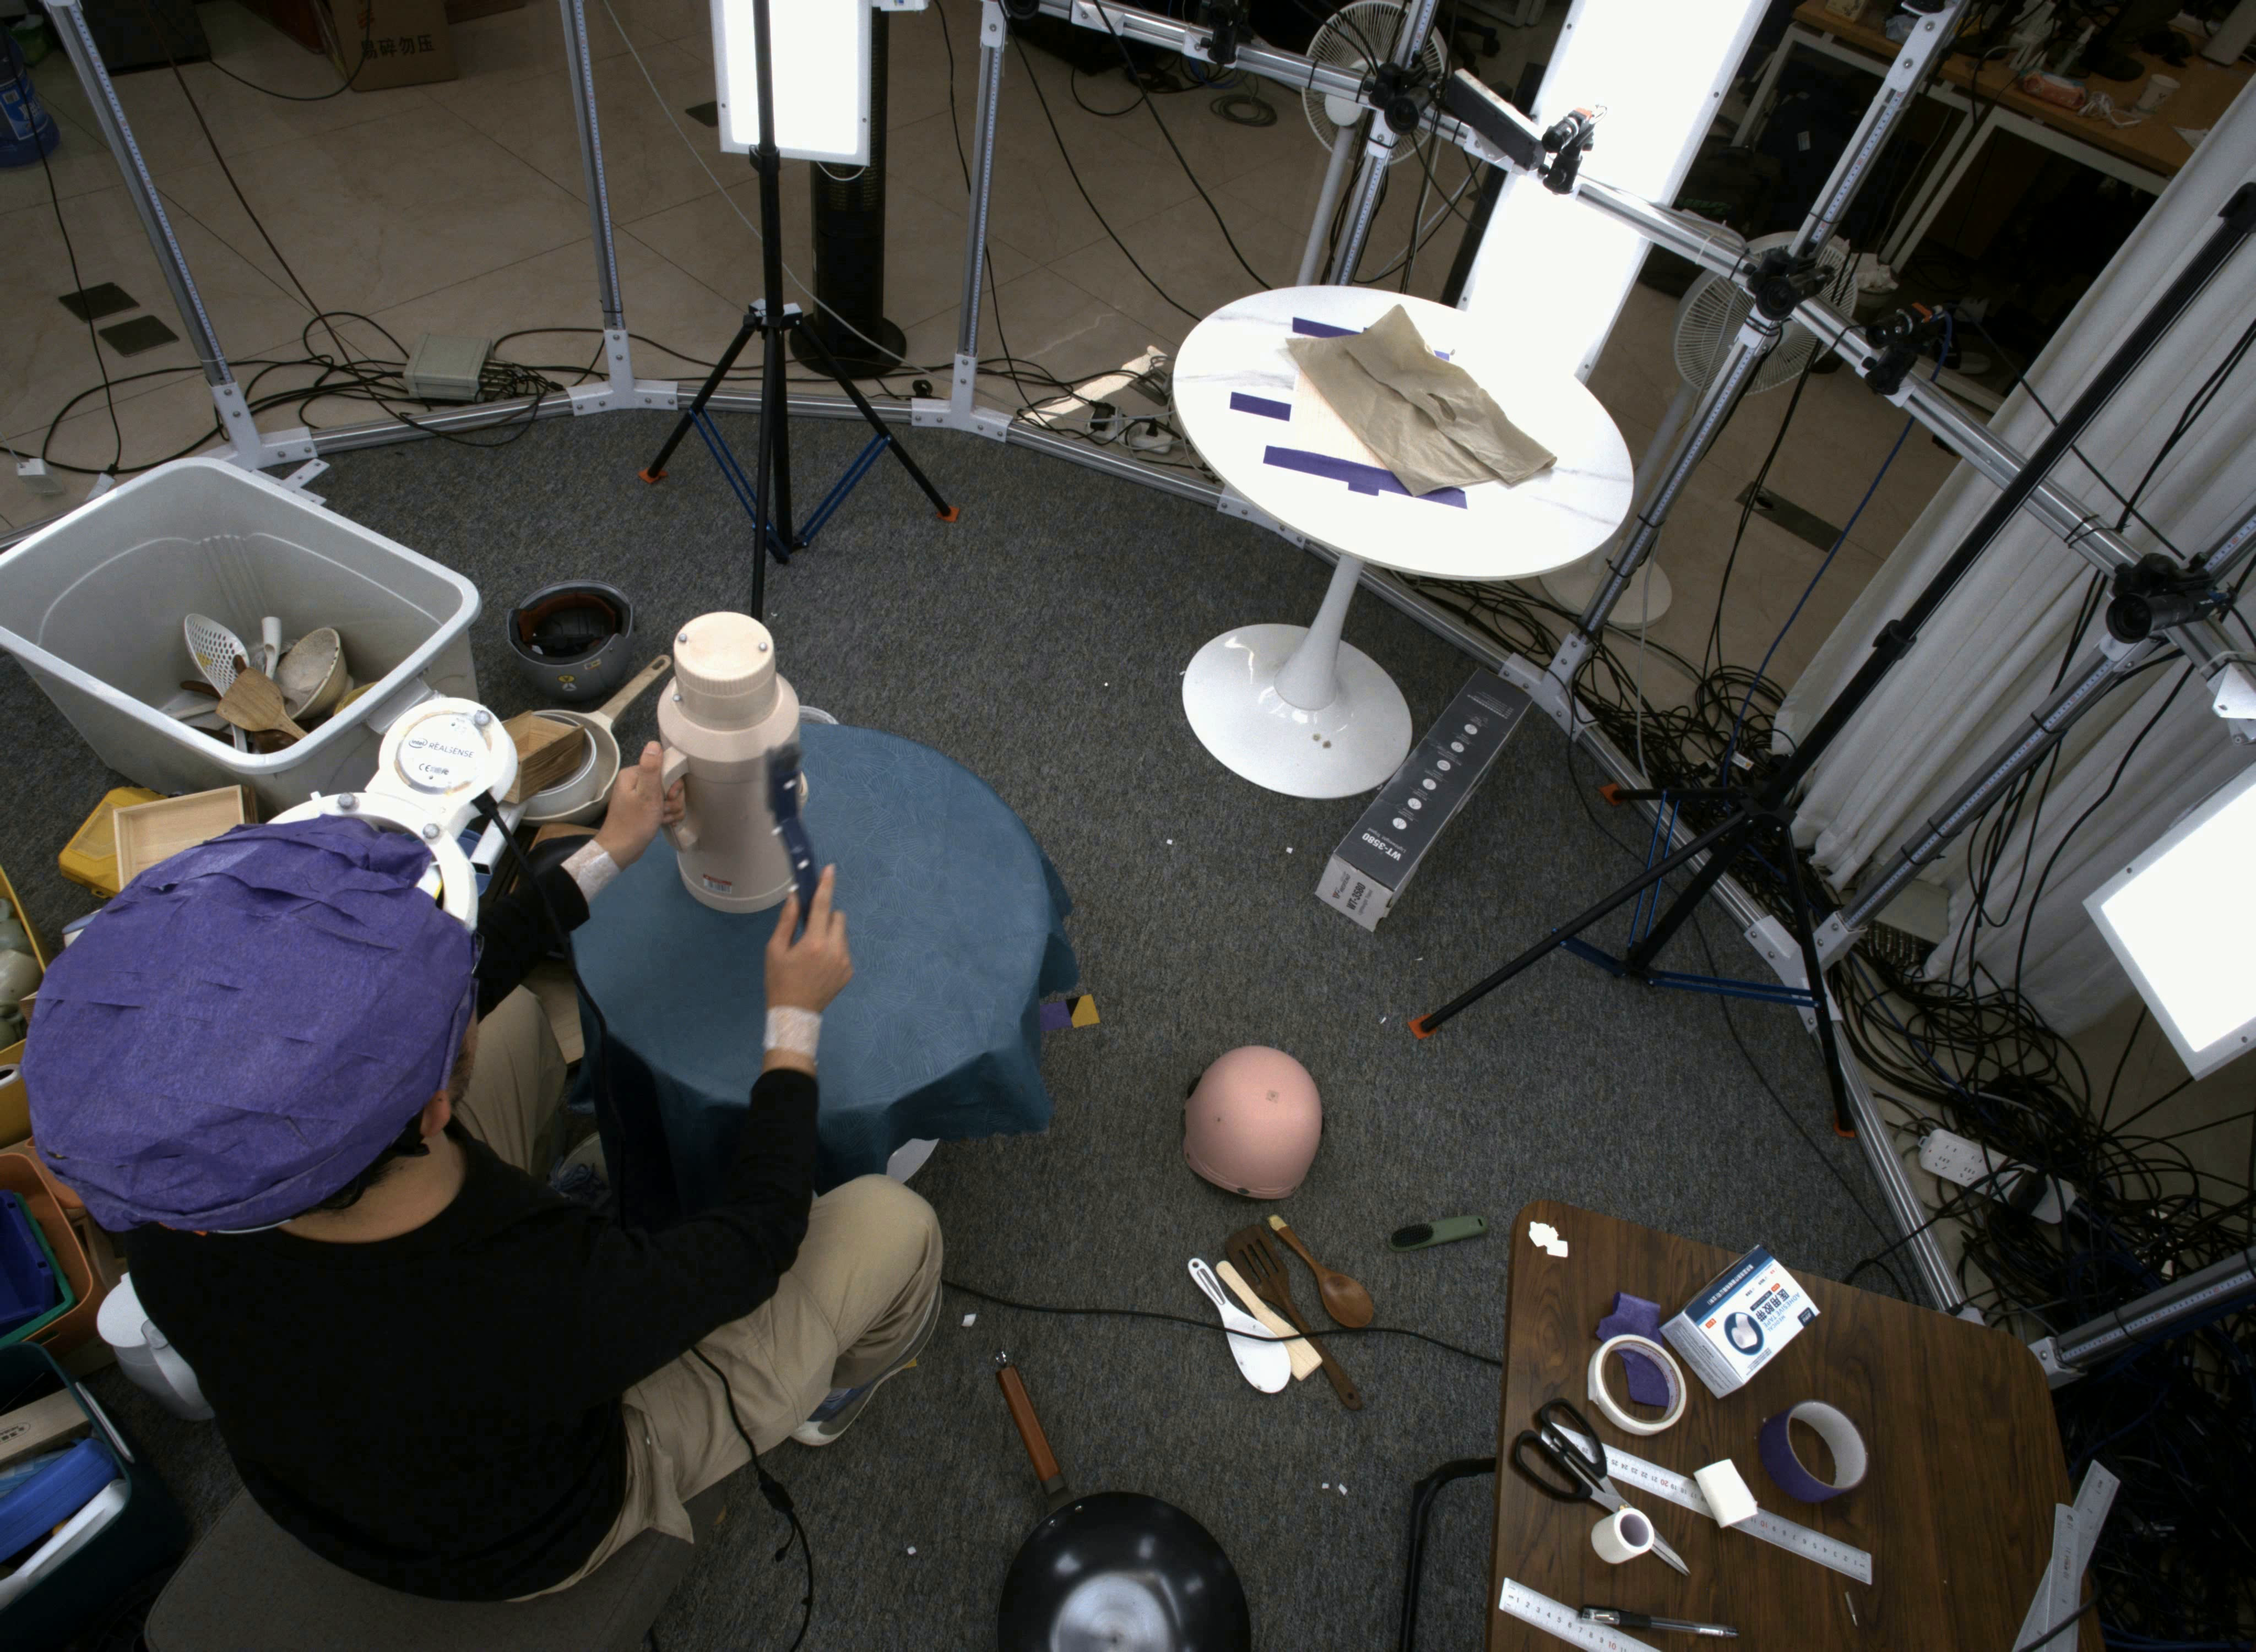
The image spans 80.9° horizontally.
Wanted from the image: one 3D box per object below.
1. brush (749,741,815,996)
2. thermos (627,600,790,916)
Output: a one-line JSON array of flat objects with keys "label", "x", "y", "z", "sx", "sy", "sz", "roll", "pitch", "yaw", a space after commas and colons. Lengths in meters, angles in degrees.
[{"label": "brush", "x": -0.368, "y": 0.048, "z": 1.389, "sx": 0.034, "sy": 0.280, "sz": 0.092, "roll": -22, "pitch": 17, "yaw": -40}, {"label": "thermos", "x": -0.491, "y": -0.067, "z": 1.494, "sx": 0.172, "sy": 0.414, "sz": 0.206, "roll": 31, "pitch": 52, "yaw": 11}]
